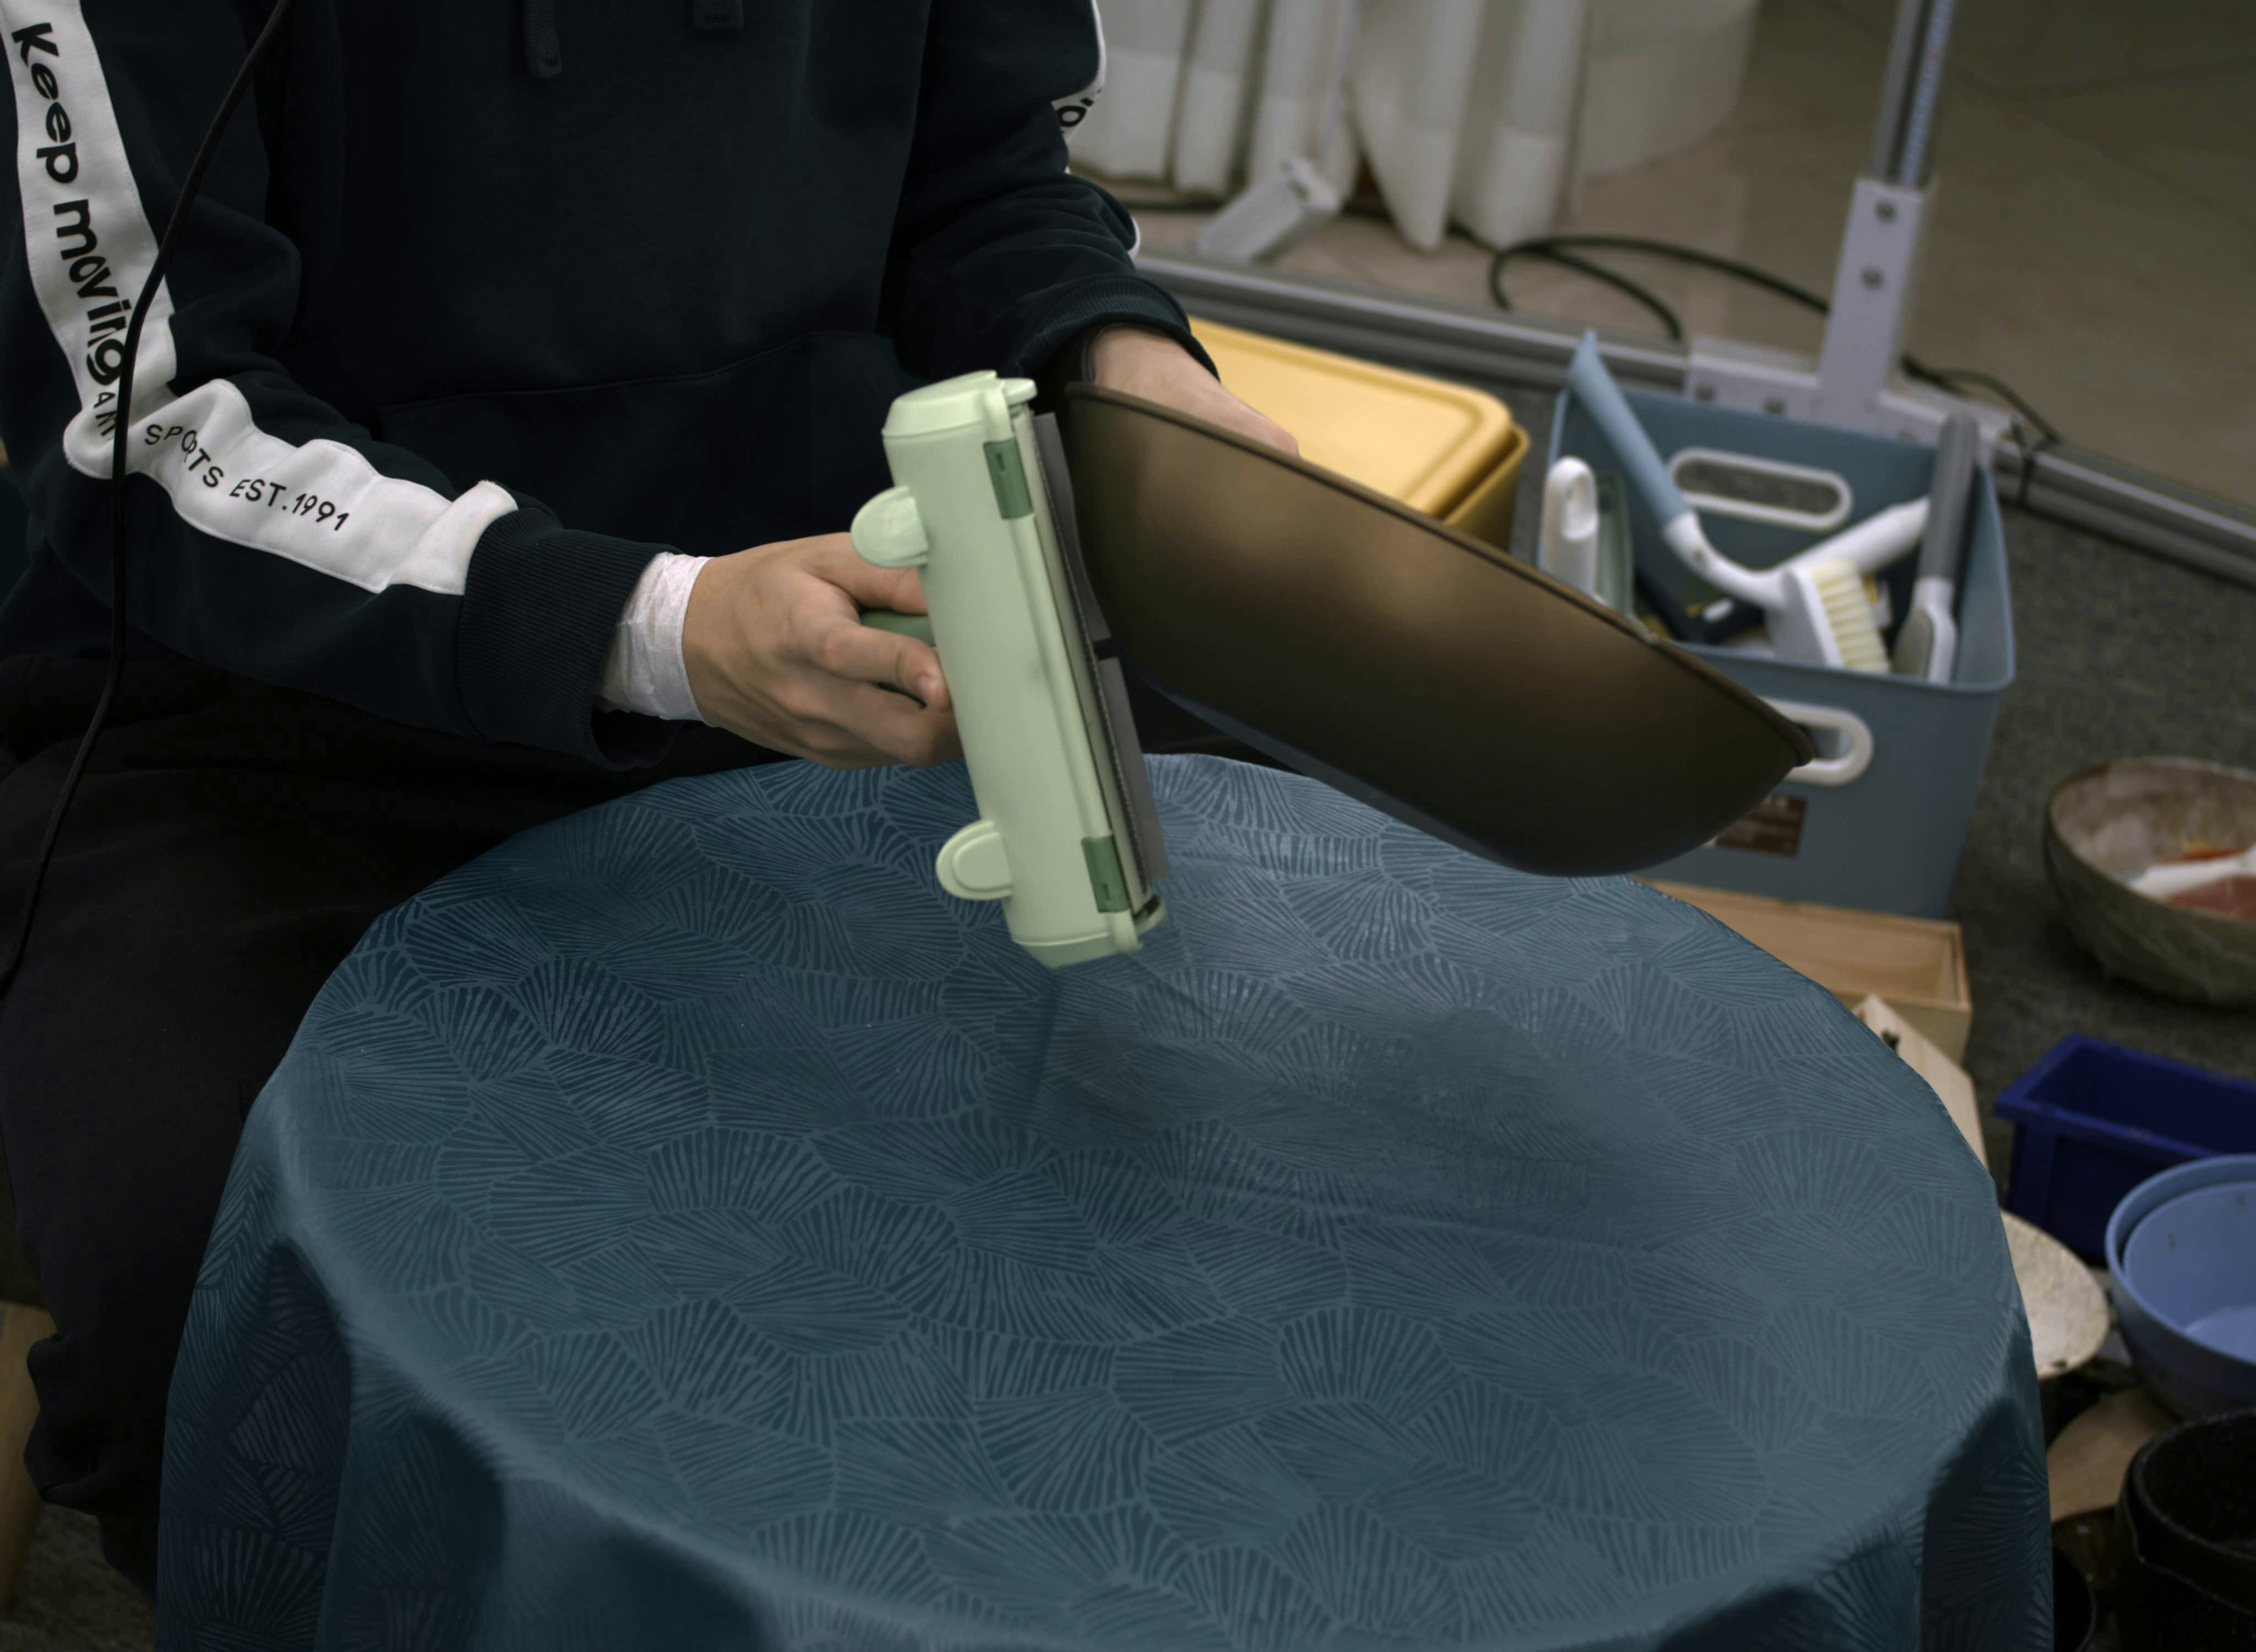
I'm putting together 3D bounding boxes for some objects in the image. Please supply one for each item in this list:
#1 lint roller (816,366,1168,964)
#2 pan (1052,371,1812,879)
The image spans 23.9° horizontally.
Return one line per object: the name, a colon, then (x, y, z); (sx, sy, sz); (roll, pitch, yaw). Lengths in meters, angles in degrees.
lint roller: (-0.073, -0.050, 1.804); (0.082, 0.198, 0.184); (-21, 12, -36)
pan: (0.051, -0.068, 1.875); (0.286, 0.087, 0.466); (28, -3, -24)
